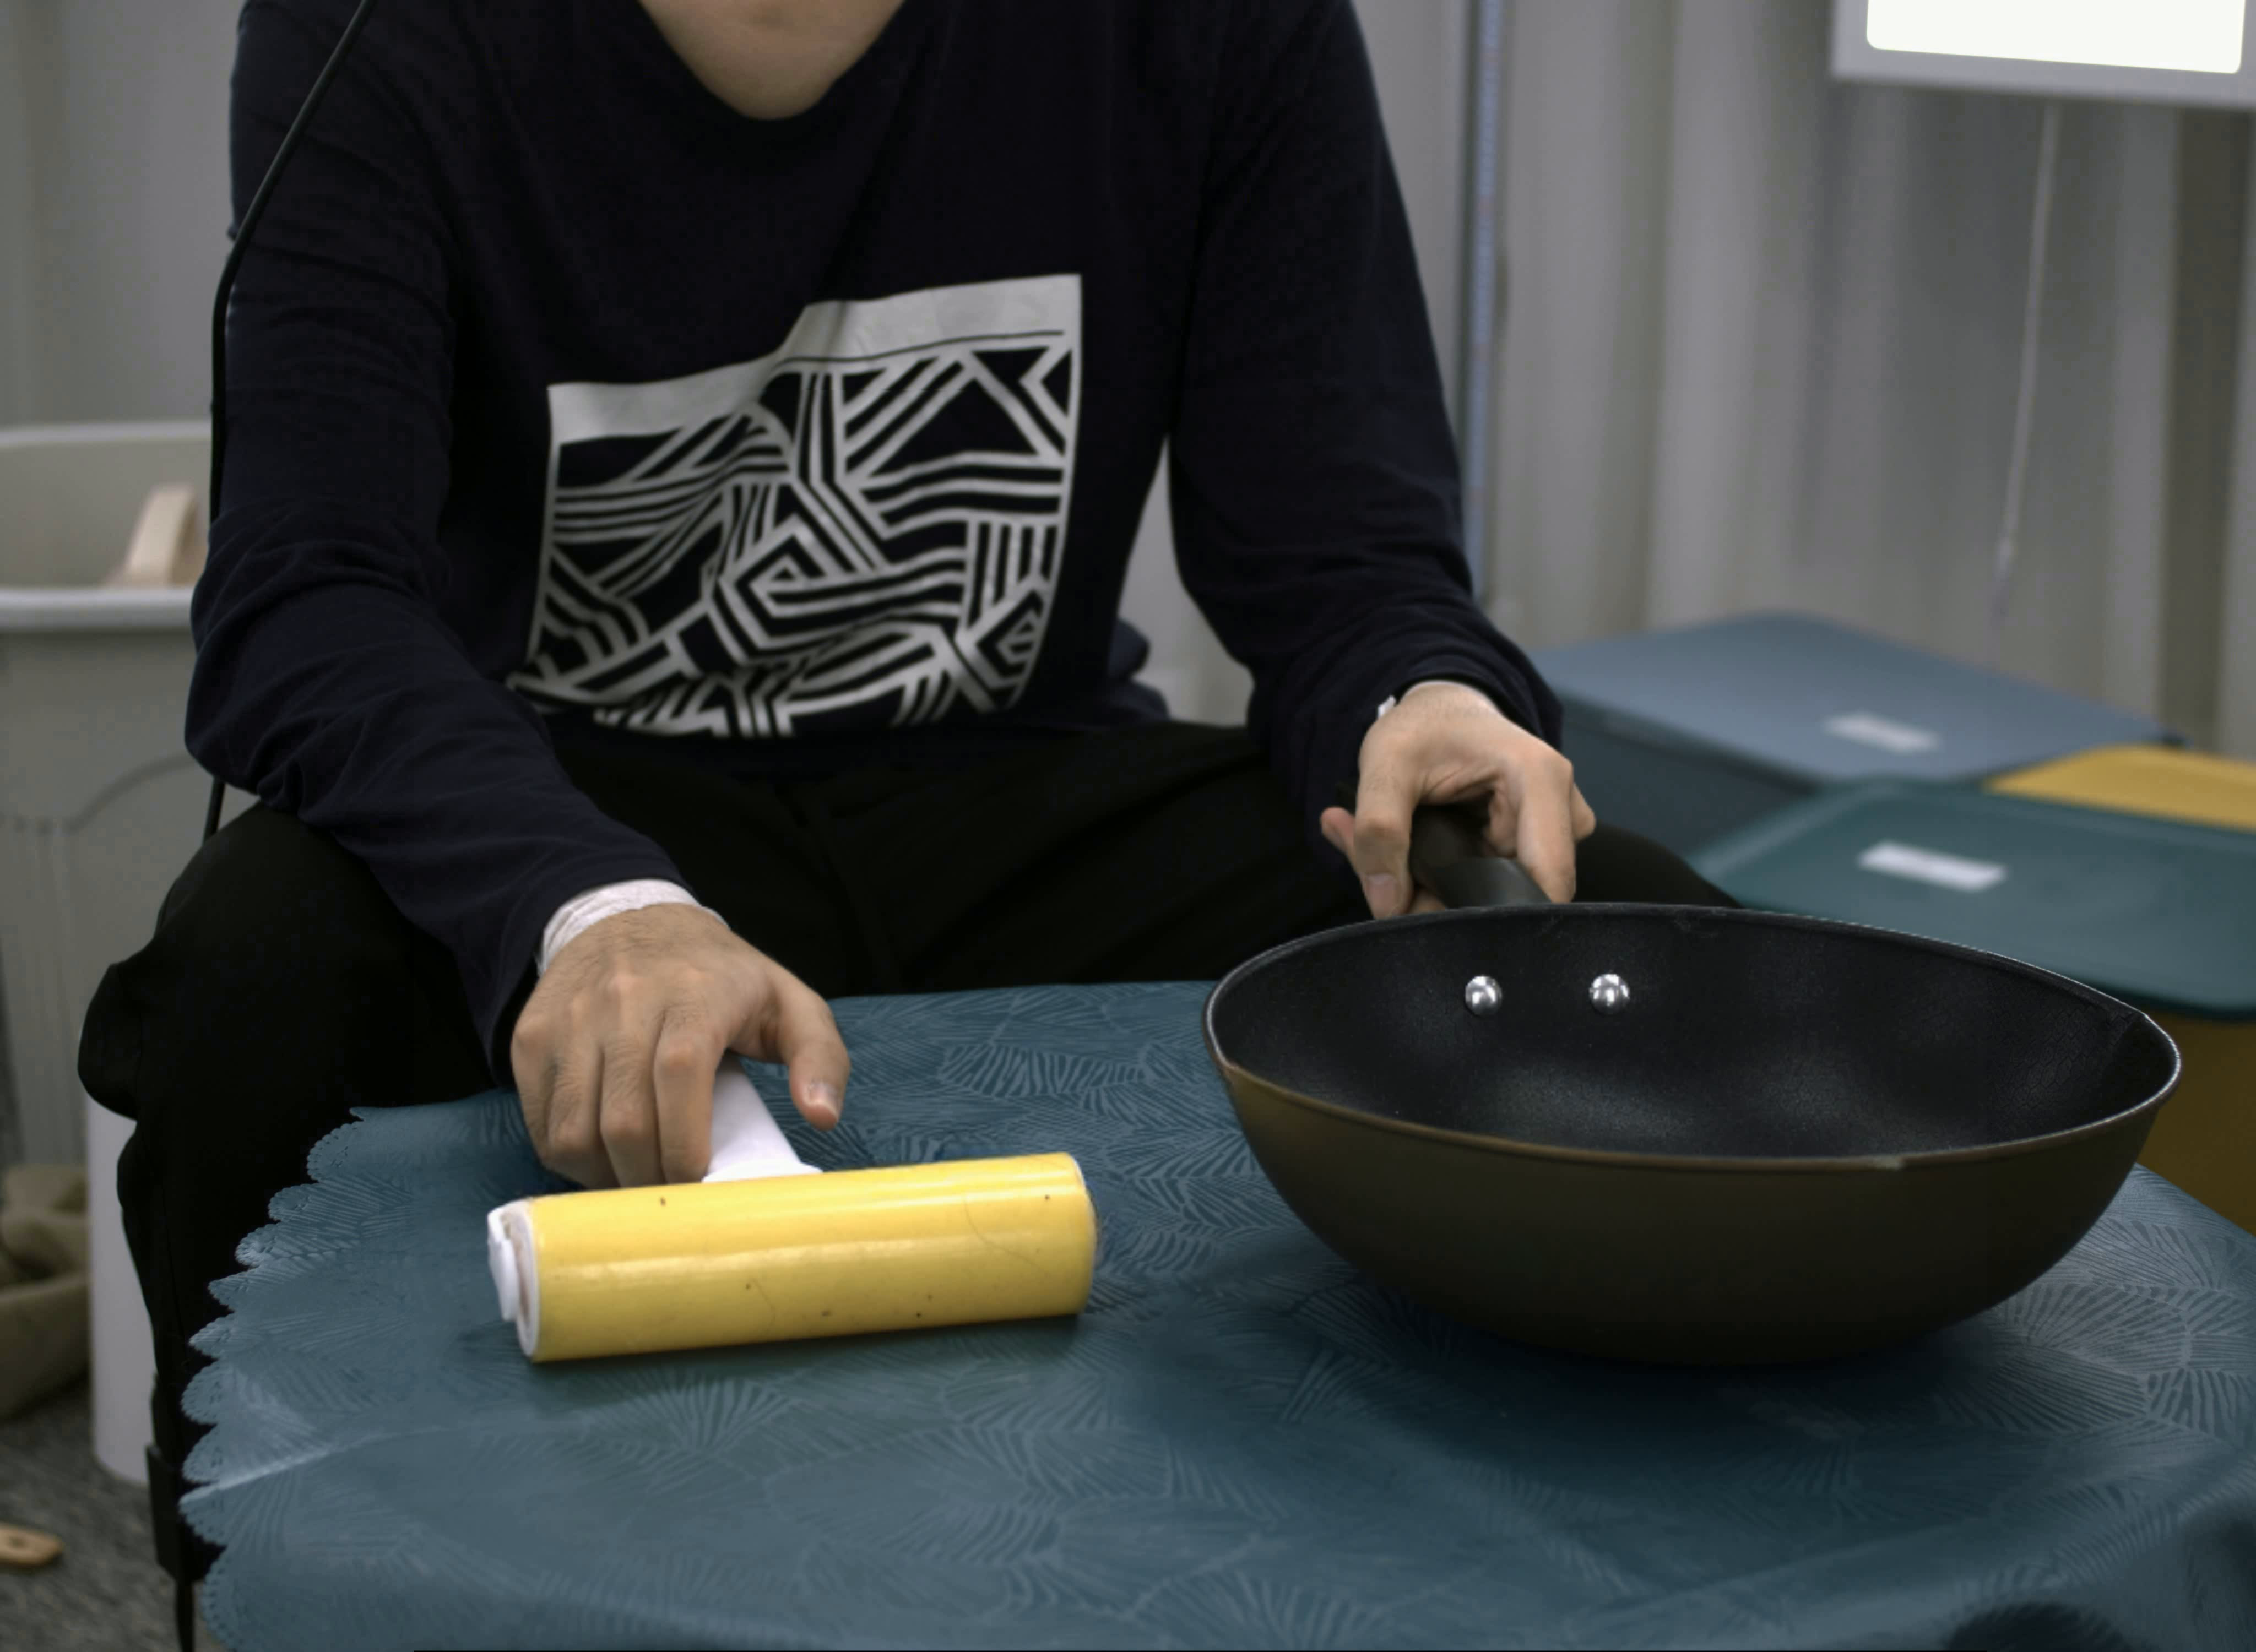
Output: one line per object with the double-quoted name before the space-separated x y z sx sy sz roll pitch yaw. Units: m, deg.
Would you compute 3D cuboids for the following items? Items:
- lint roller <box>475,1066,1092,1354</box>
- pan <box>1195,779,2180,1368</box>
"lint roller" -0.115 0.096 1.557 0.174 0.052 0.190 -3 23 -16
"pan" 0.136 0.073 1.614 0.288 0.087 0.459 -1 14 -15
